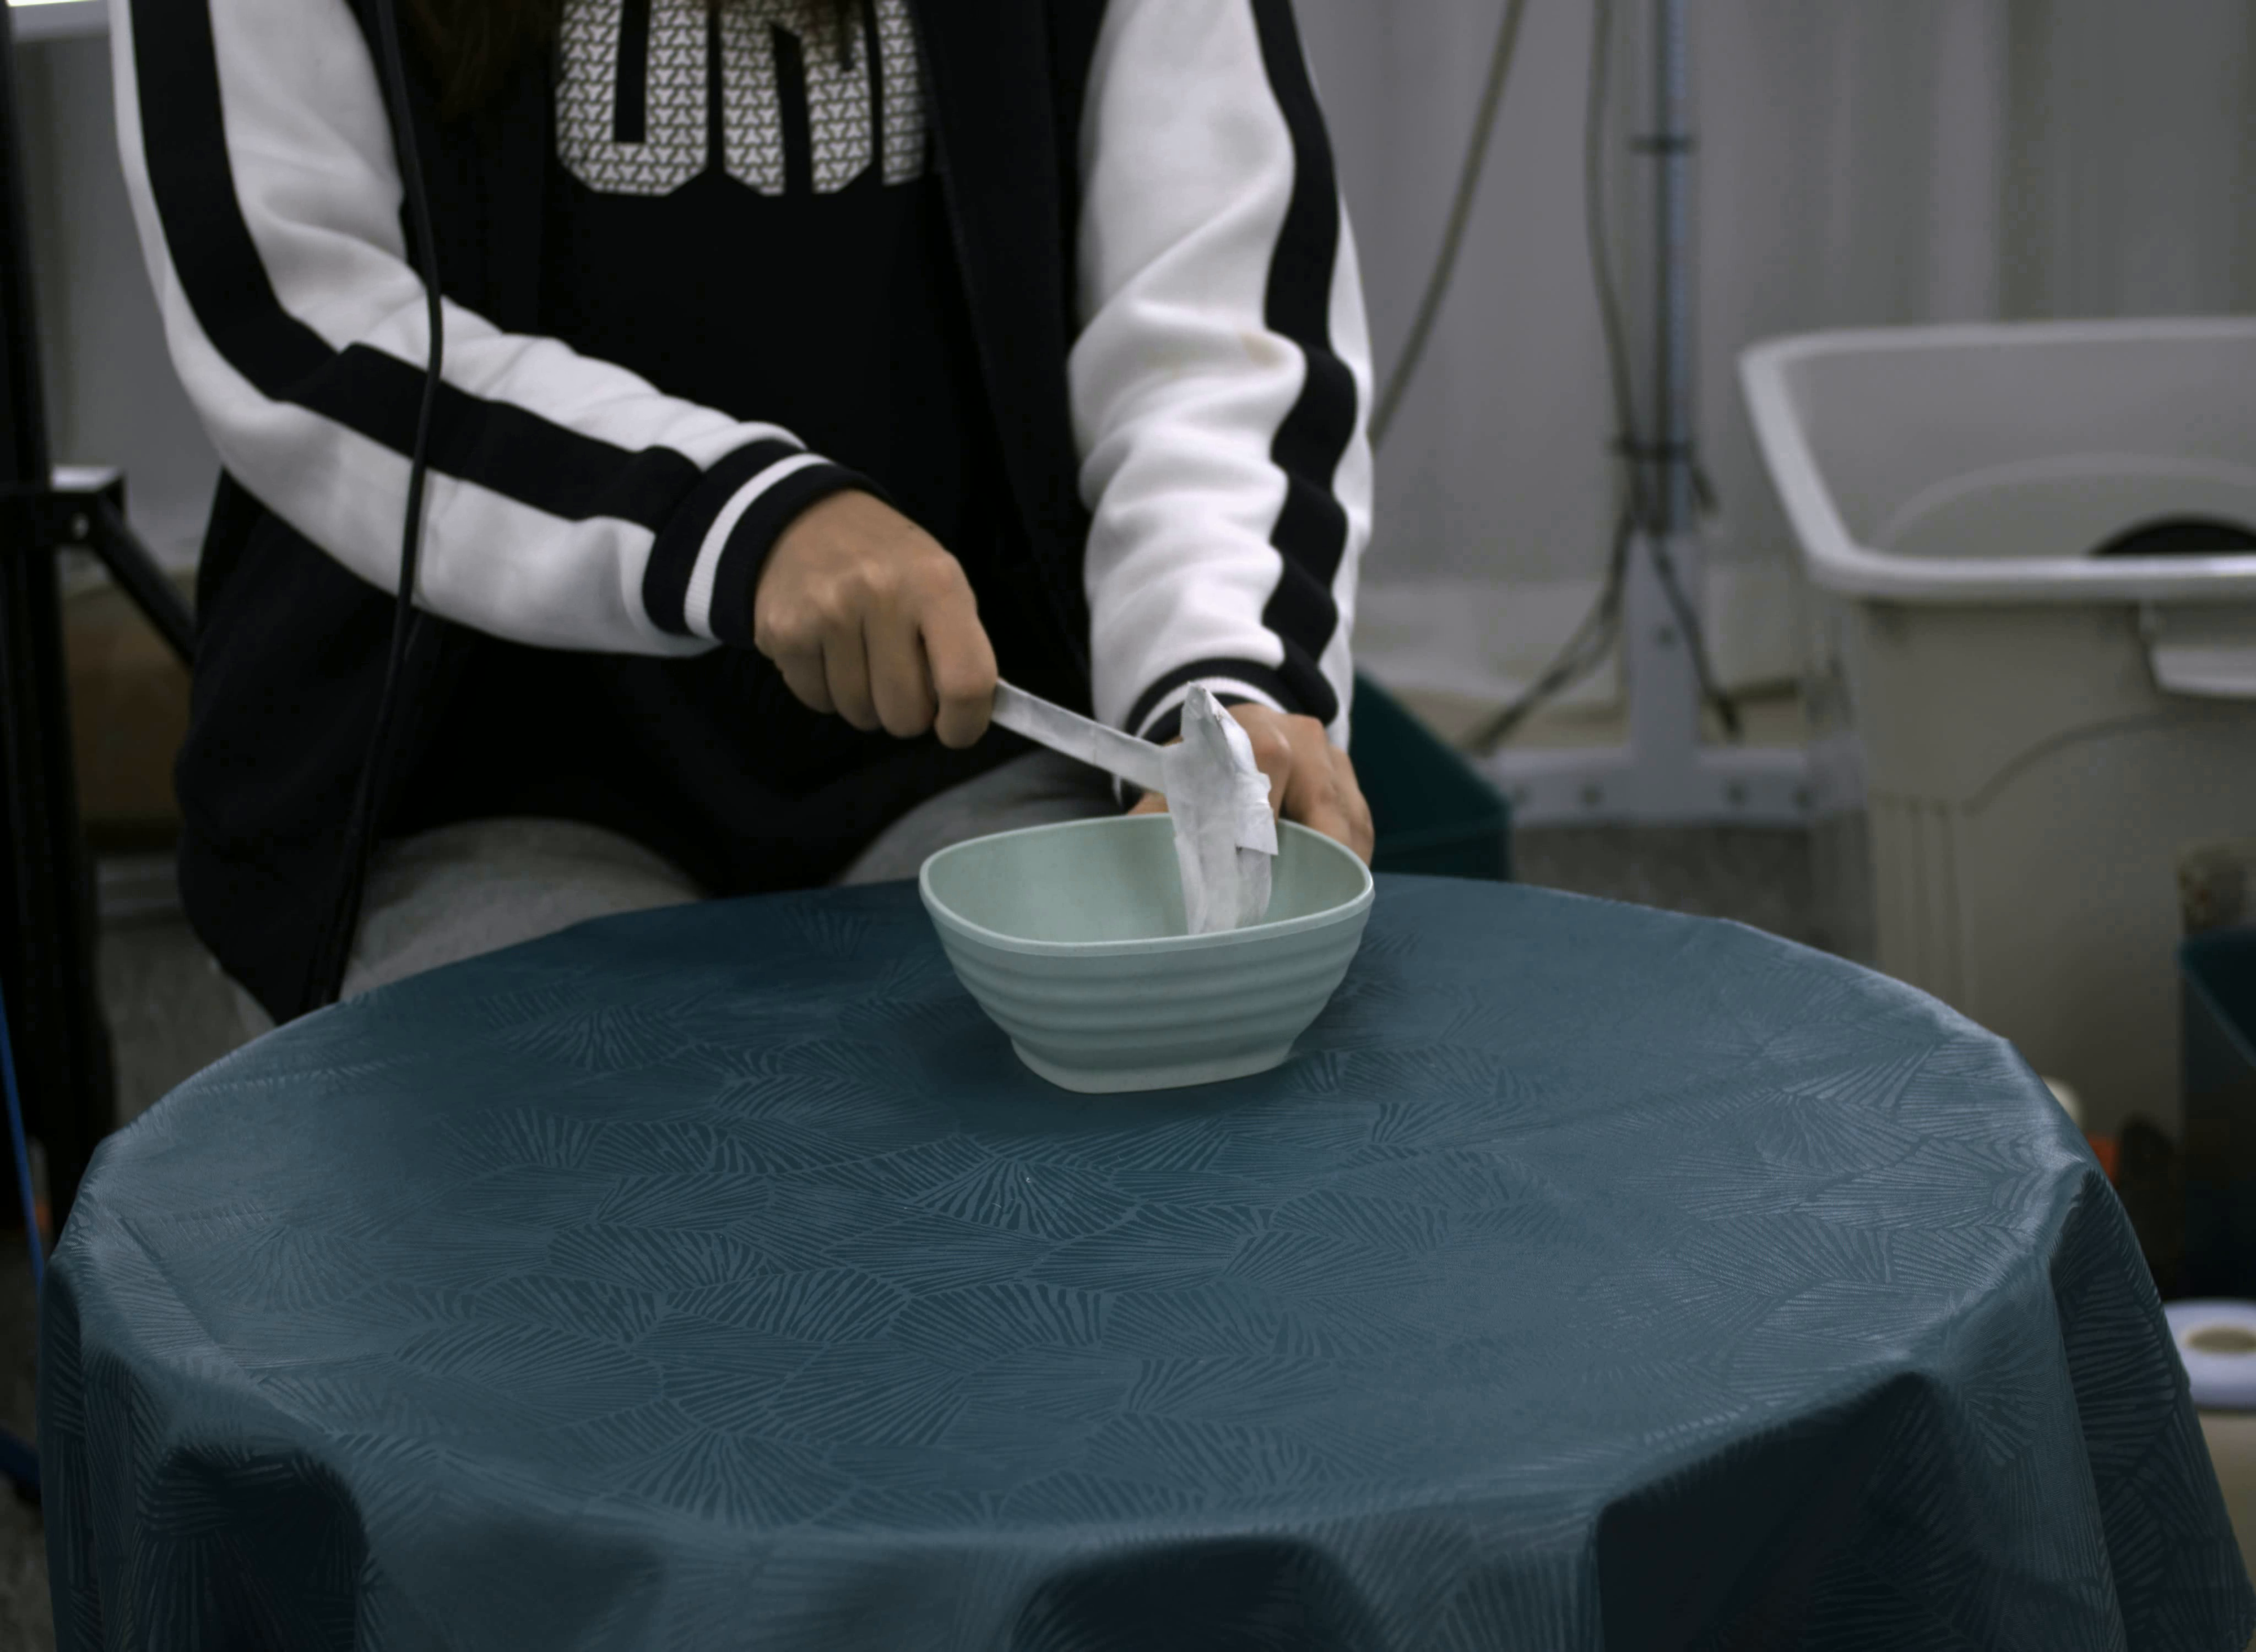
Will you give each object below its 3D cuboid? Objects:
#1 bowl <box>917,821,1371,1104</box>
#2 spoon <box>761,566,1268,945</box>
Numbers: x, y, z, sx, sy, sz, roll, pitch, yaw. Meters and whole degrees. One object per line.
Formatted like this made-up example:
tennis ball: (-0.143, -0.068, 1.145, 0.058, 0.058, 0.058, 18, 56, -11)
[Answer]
bowl: (0.005, 0.046, 1.683, 0.150, 0.058, 0.152, -2, 16, -1)
spoon: (-0.045, -0.036, 1.723, 0.058, 0.101, 0.284, -14, 30, -42)
